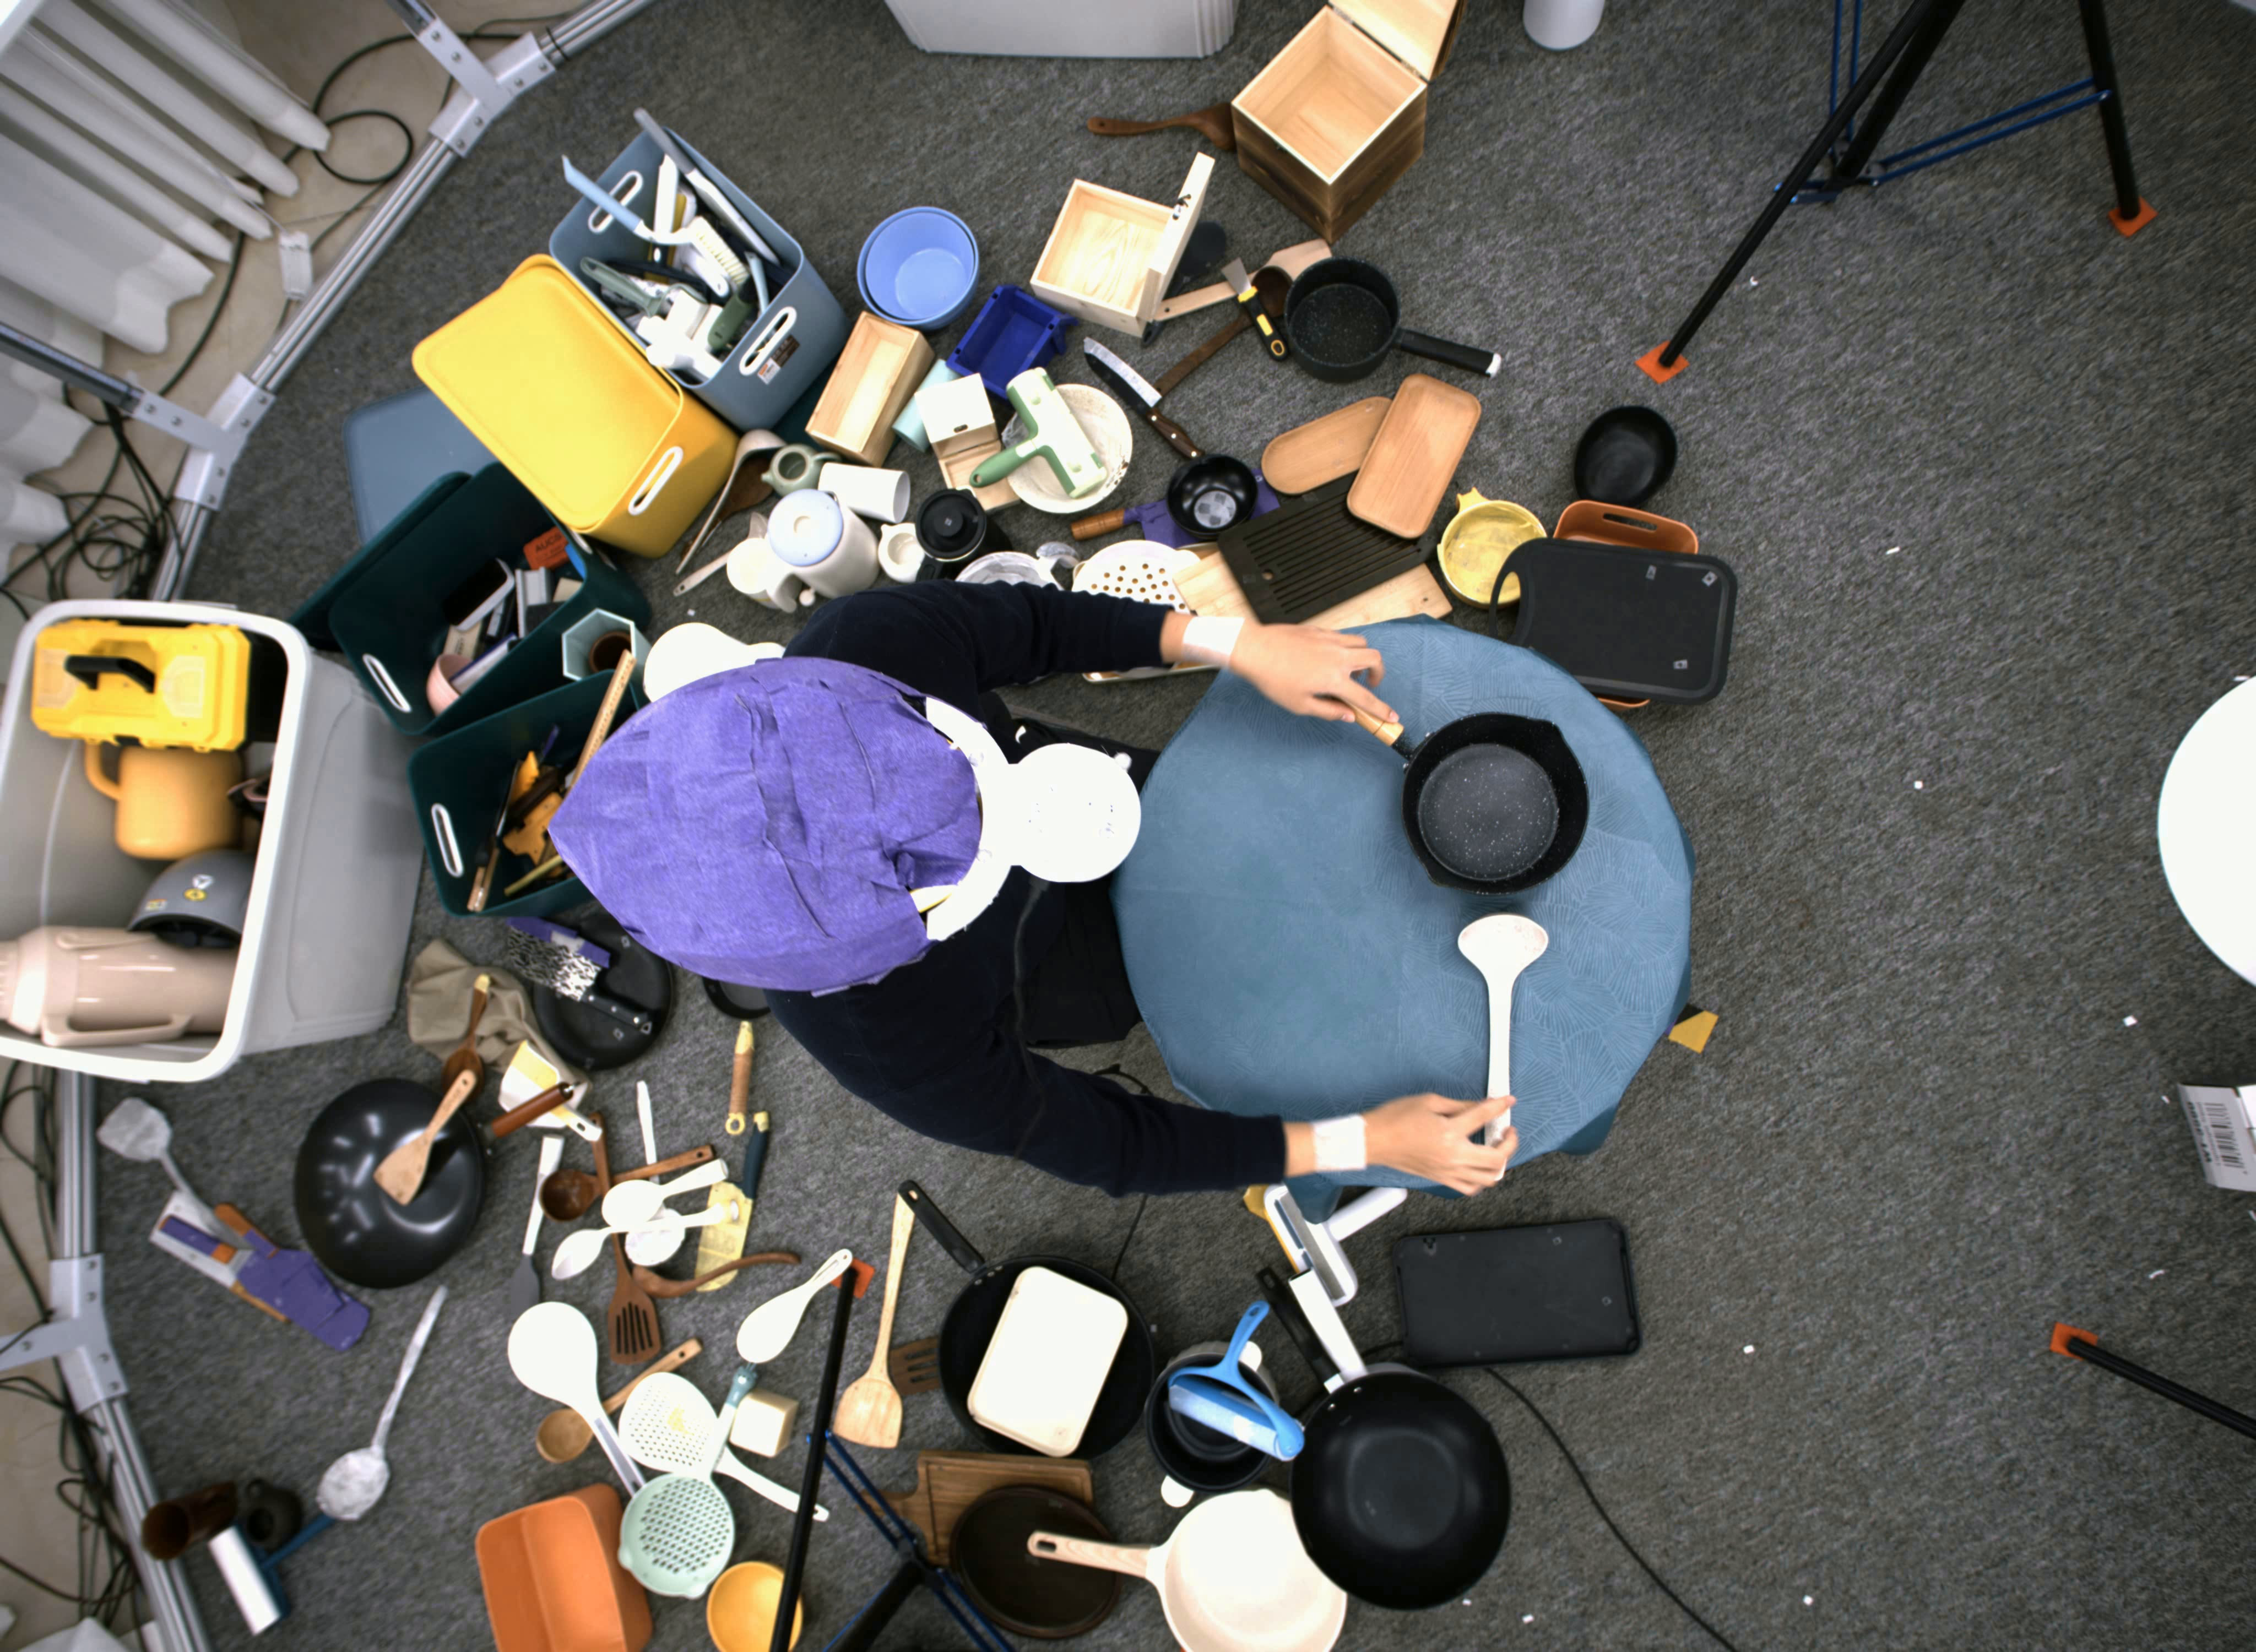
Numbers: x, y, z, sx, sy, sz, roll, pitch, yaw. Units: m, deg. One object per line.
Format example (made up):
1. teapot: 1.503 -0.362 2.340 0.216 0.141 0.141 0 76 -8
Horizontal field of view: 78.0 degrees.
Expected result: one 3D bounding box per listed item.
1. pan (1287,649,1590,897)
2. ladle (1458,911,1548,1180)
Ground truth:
1. pan: 0.305 -0.067 1.406 0.342 0.108 0.208 36 94 9
2. ladle: 0.379 0.222 1.397 0.089 0.069 0.274 1 87 4
